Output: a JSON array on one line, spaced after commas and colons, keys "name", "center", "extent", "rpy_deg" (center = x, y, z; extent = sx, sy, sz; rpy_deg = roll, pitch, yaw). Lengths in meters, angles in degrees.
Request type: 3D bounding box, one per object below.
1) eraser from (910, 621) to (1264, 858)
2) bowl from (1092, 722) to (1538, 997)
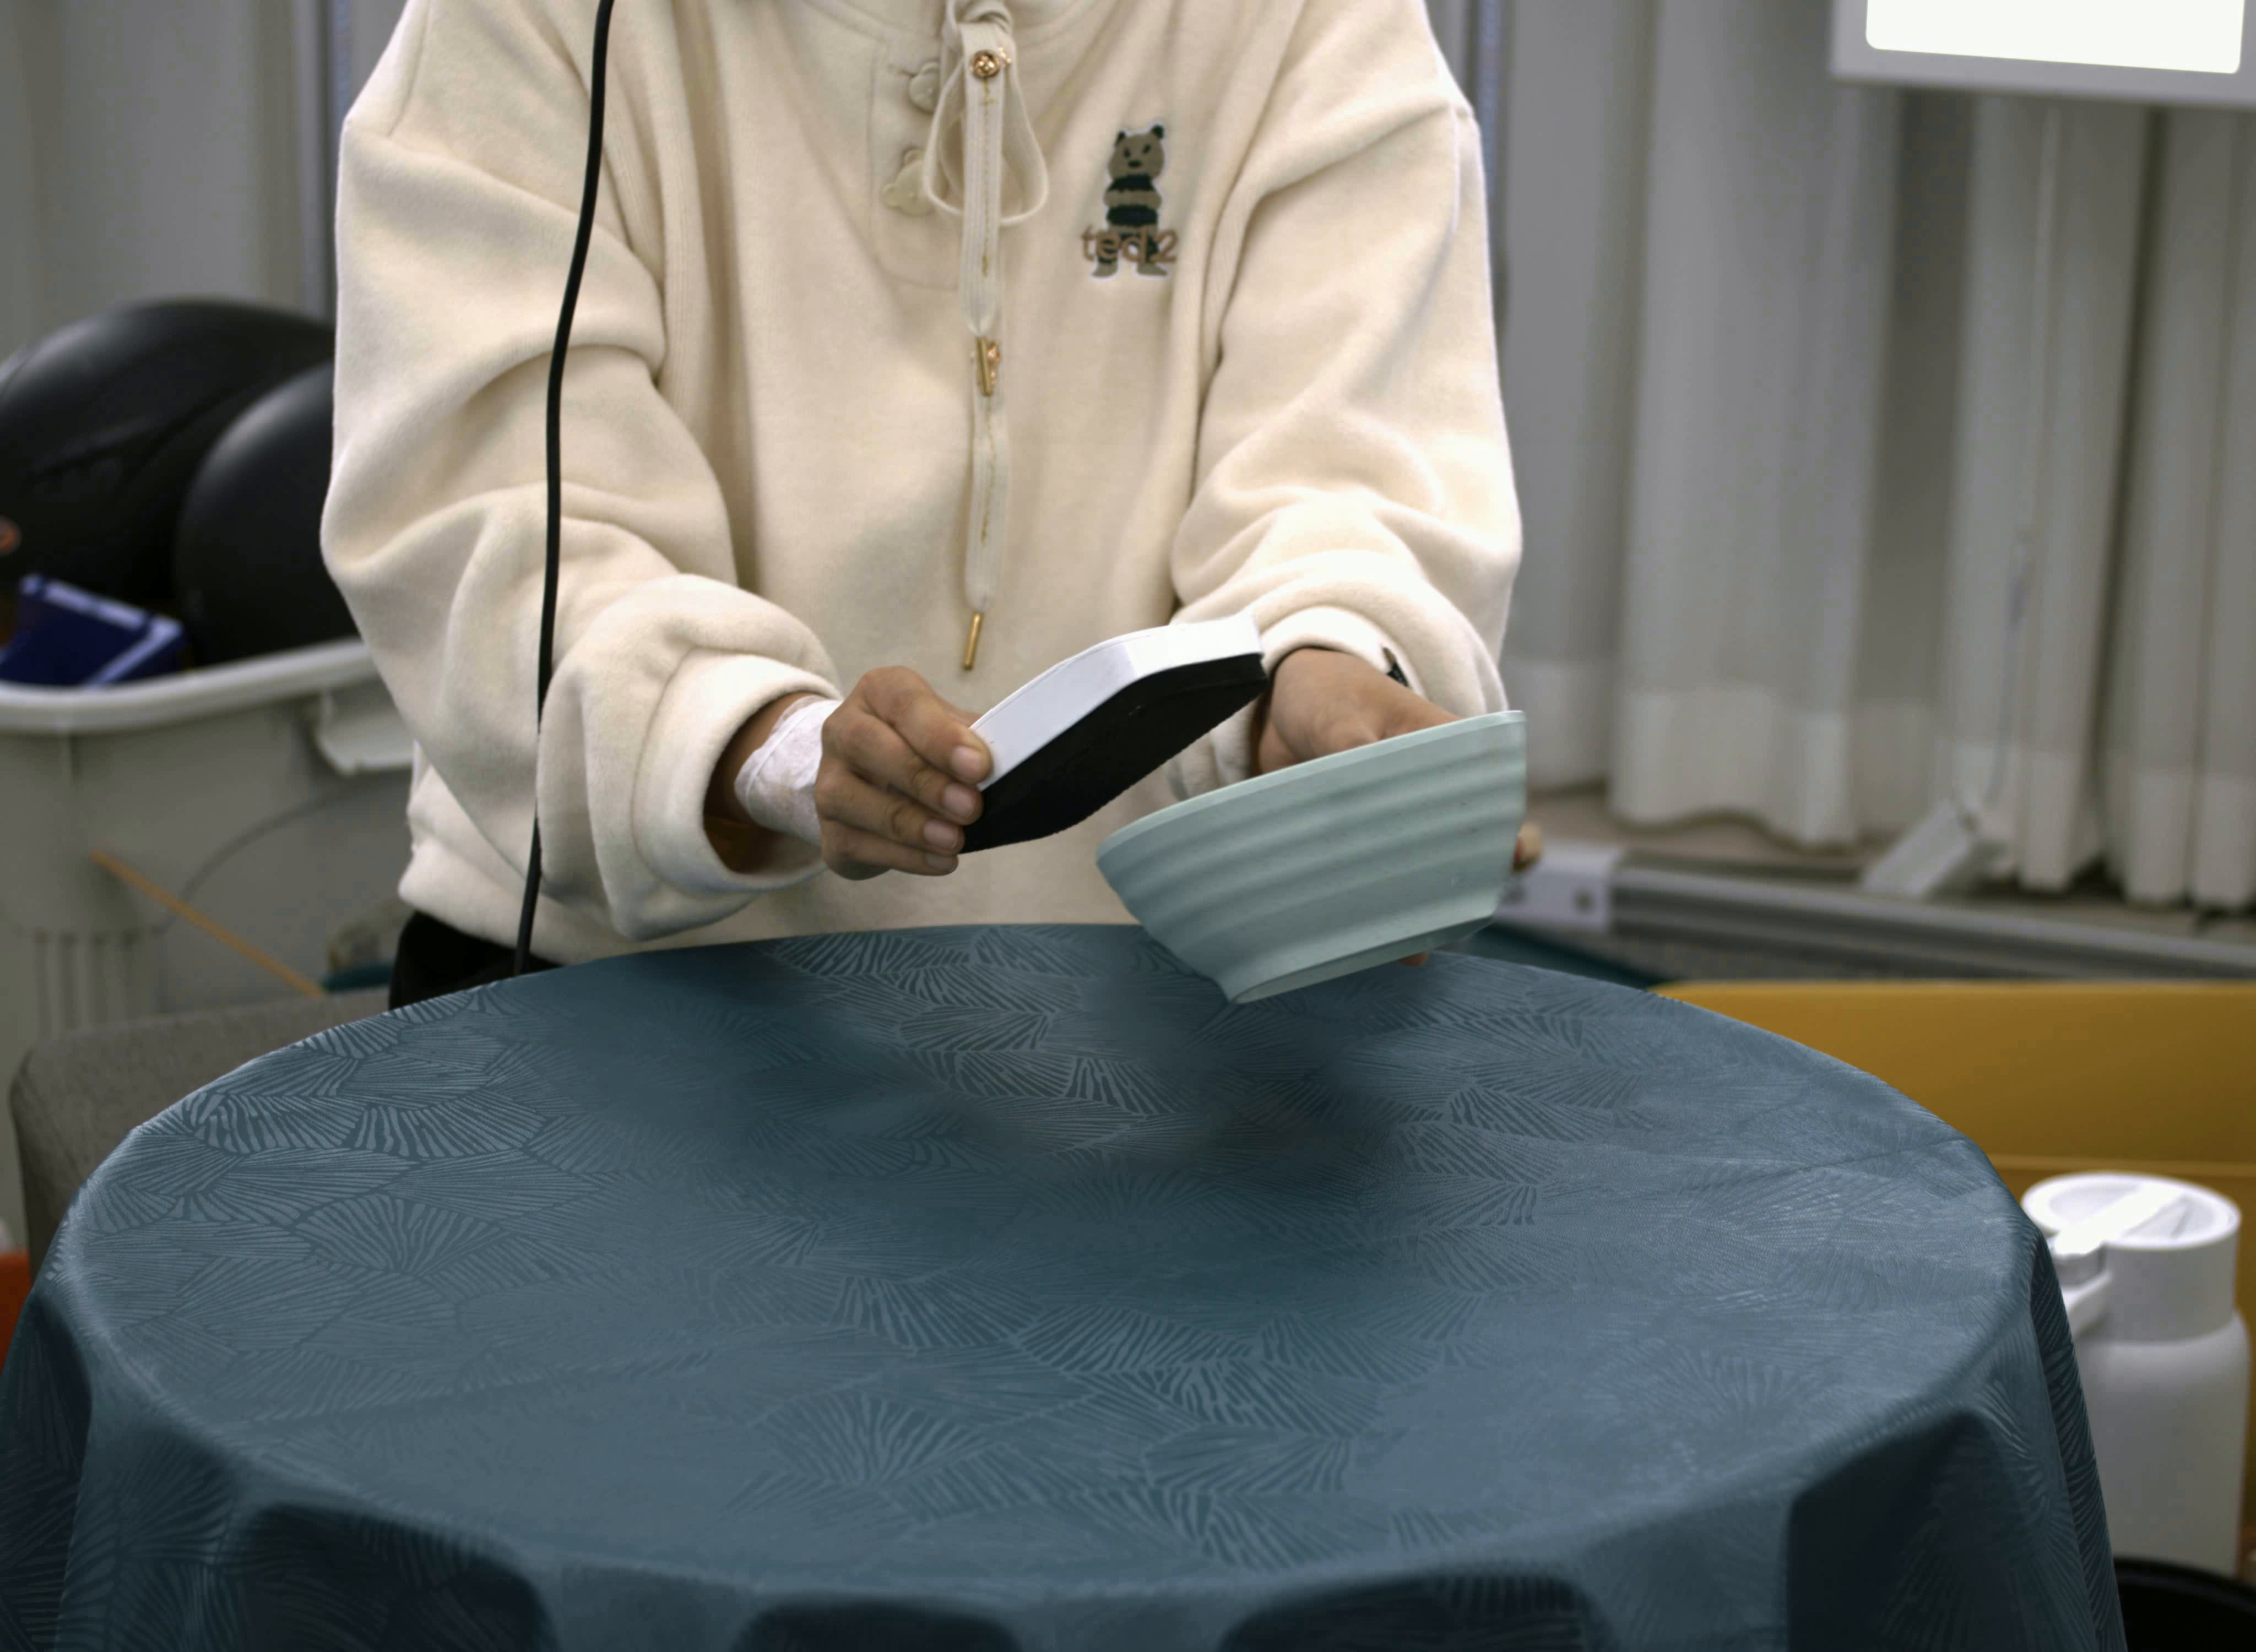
[{"name": "eraser", "center": [-0.012, -0.030, 1.657], "extent": [0.064, 0.034, 0.131], "rpy_deg": [-11, -16, -40]}, {"name": "bowl", "center": [0.063, 0.014, 1.619], "extent": [0.151, 0.059, 0.151], "rpy_deg": [-14, -5, 0]}]
